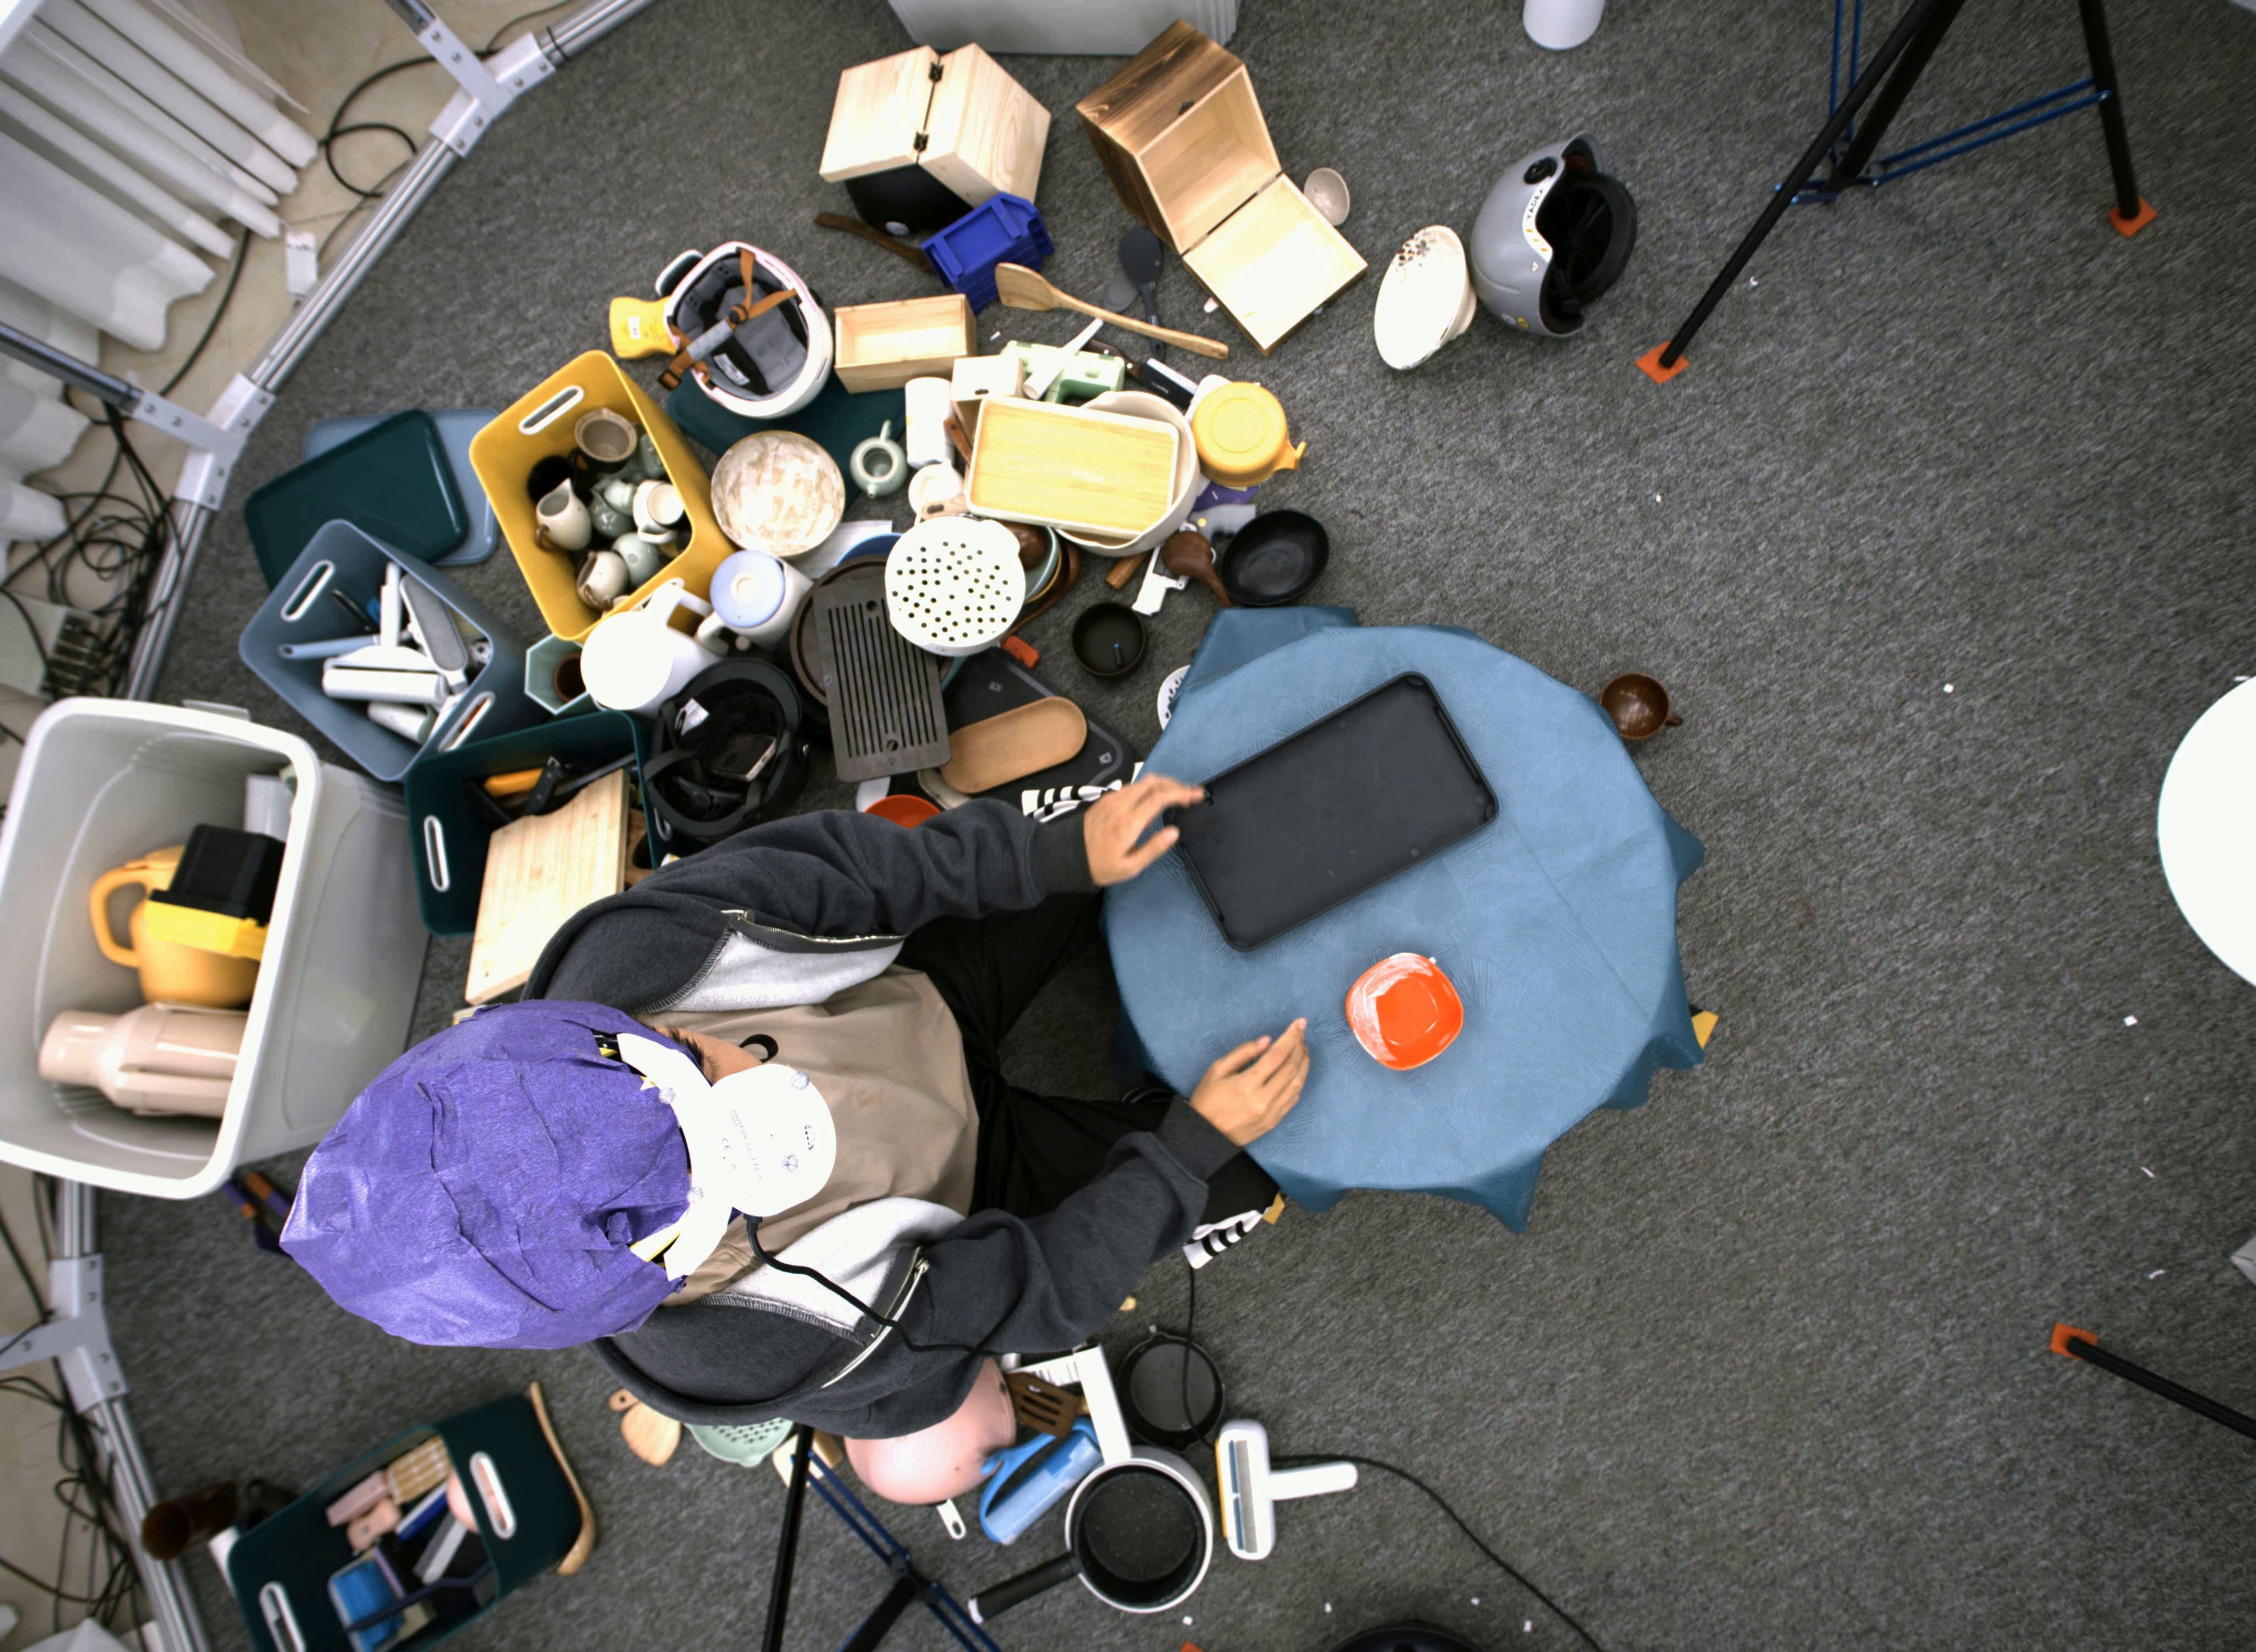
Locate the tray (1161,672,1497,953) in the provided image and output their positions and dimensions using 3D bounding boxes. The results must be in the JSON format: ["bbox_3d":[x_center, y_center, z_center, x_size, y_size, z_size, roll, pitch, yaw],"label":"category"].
[{"bbox_3d":[0.210,-0.014,1.455,0.319,0.037,0.183,-29,82,7],"label":"tray"}]

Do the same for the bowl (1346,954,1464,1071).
[{"bbox_3d":[0.284,0.190,1.423,0.119,0.051,0.118,-1,85,10],"label":"bowl"}]
